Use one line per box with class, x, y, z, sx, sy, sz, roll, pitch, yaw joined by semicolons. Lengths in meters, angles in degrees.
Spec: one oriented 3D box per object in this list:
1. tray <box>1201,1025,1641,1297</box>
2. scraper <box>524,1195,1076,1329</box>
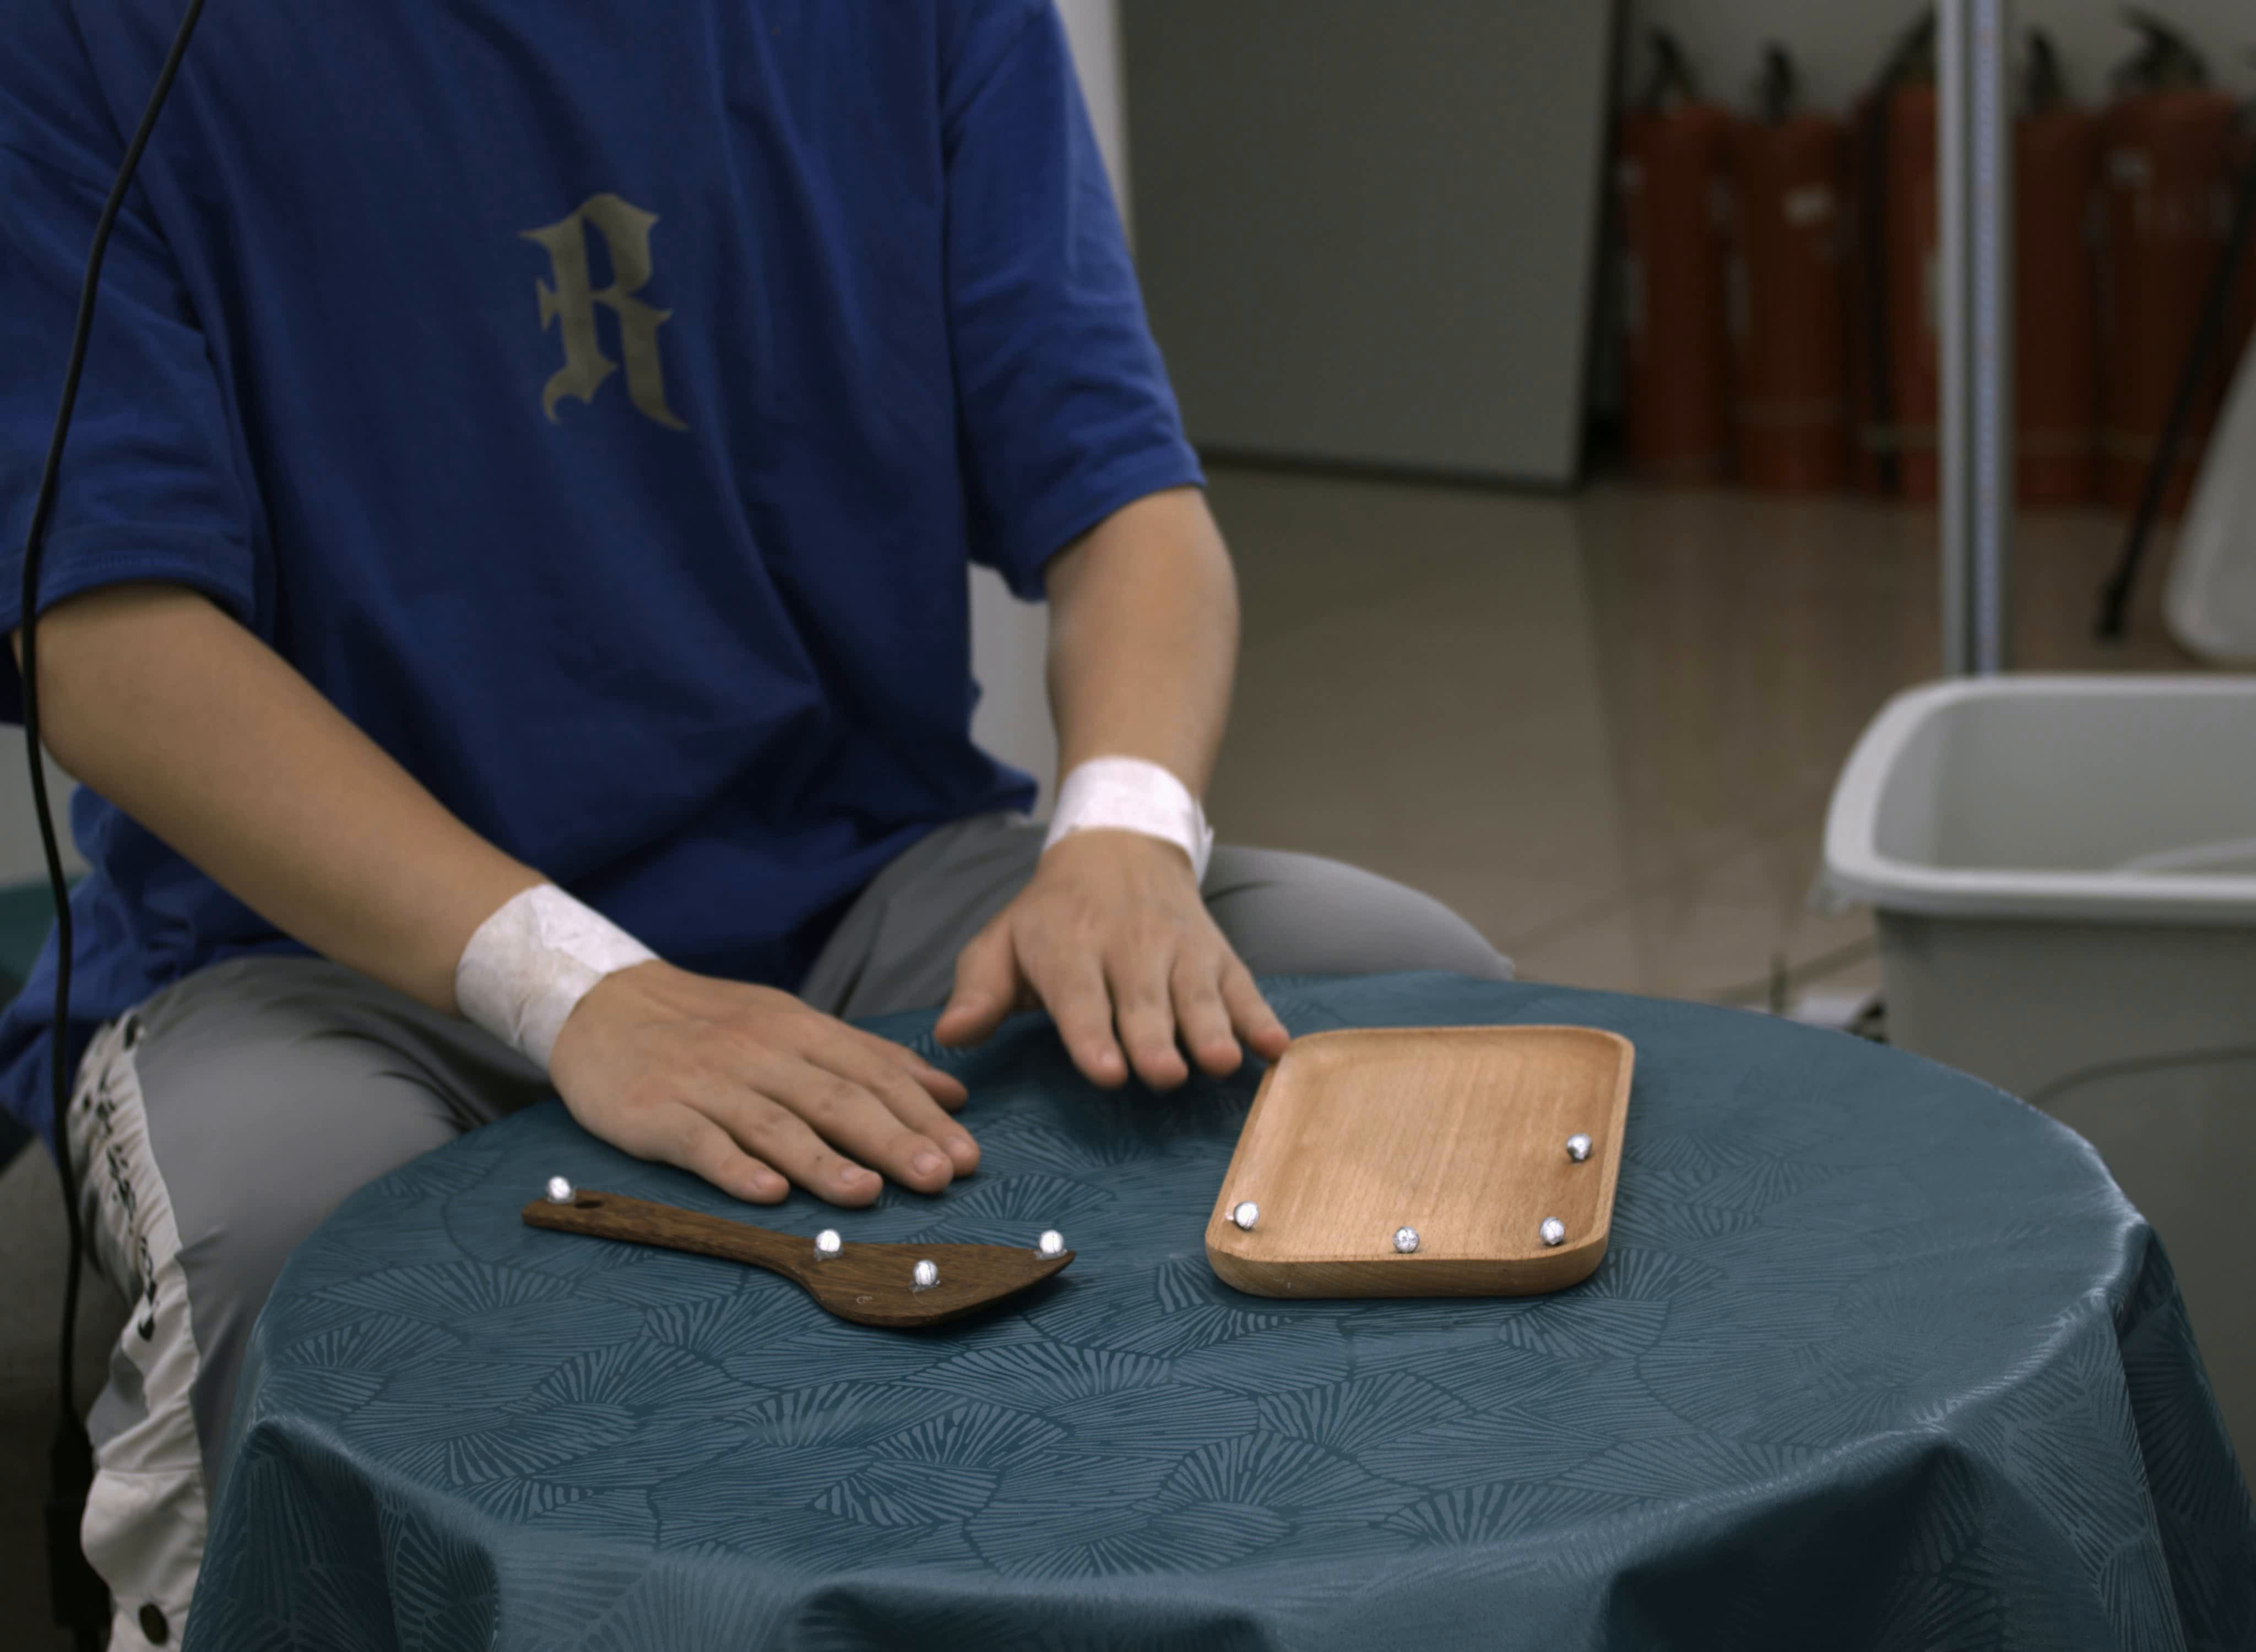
tray;0.099;0.107;1.763;0.129;0.023;0.249;1;14;9
scraper;-0.112;0.136;1.724;0.213;0.011;0.074;7;17;40
